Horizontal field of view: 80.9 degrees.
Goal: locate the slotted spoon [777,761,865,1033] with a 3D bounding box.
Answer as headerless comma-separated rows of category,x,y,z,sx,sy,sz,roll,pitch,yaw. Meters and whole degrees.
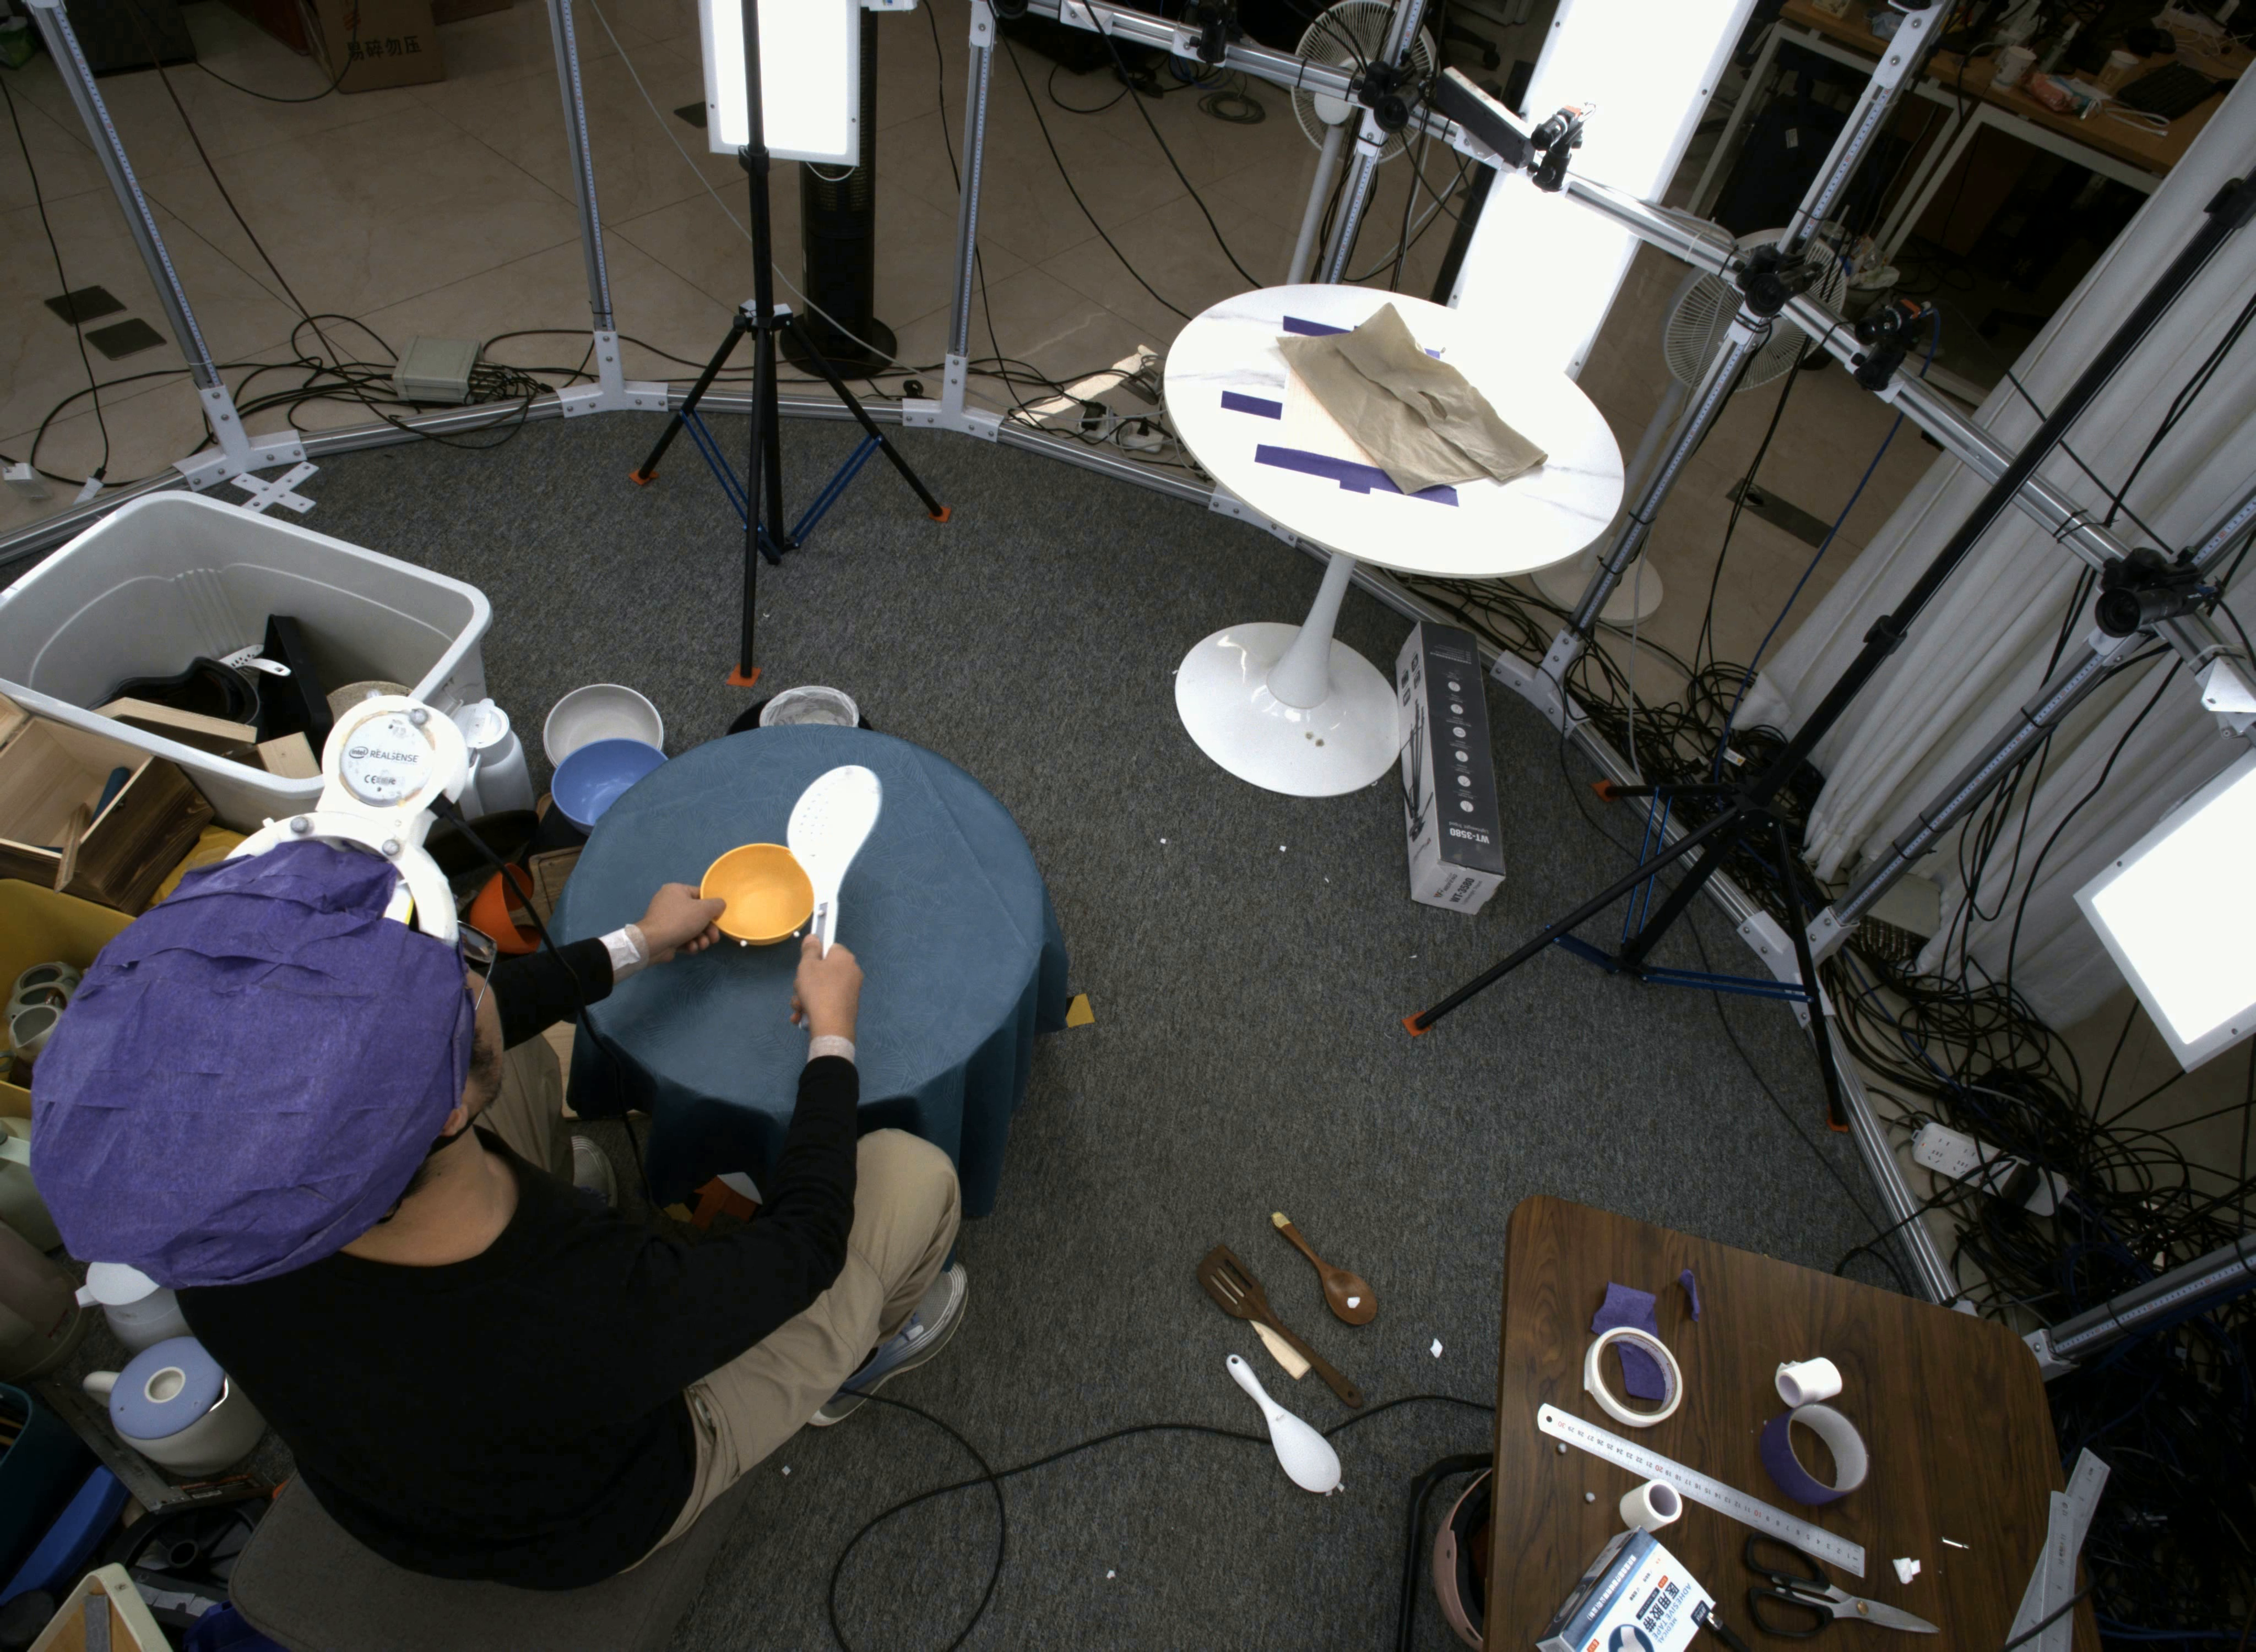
slotted spoon,-0.362,0.075,1.511,0.133,0.047,0.343,-19,51,23

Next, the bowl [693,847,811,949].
bowl,-0.461,0.098,1.599,0.145,0.061,0.142,8,50,-8
